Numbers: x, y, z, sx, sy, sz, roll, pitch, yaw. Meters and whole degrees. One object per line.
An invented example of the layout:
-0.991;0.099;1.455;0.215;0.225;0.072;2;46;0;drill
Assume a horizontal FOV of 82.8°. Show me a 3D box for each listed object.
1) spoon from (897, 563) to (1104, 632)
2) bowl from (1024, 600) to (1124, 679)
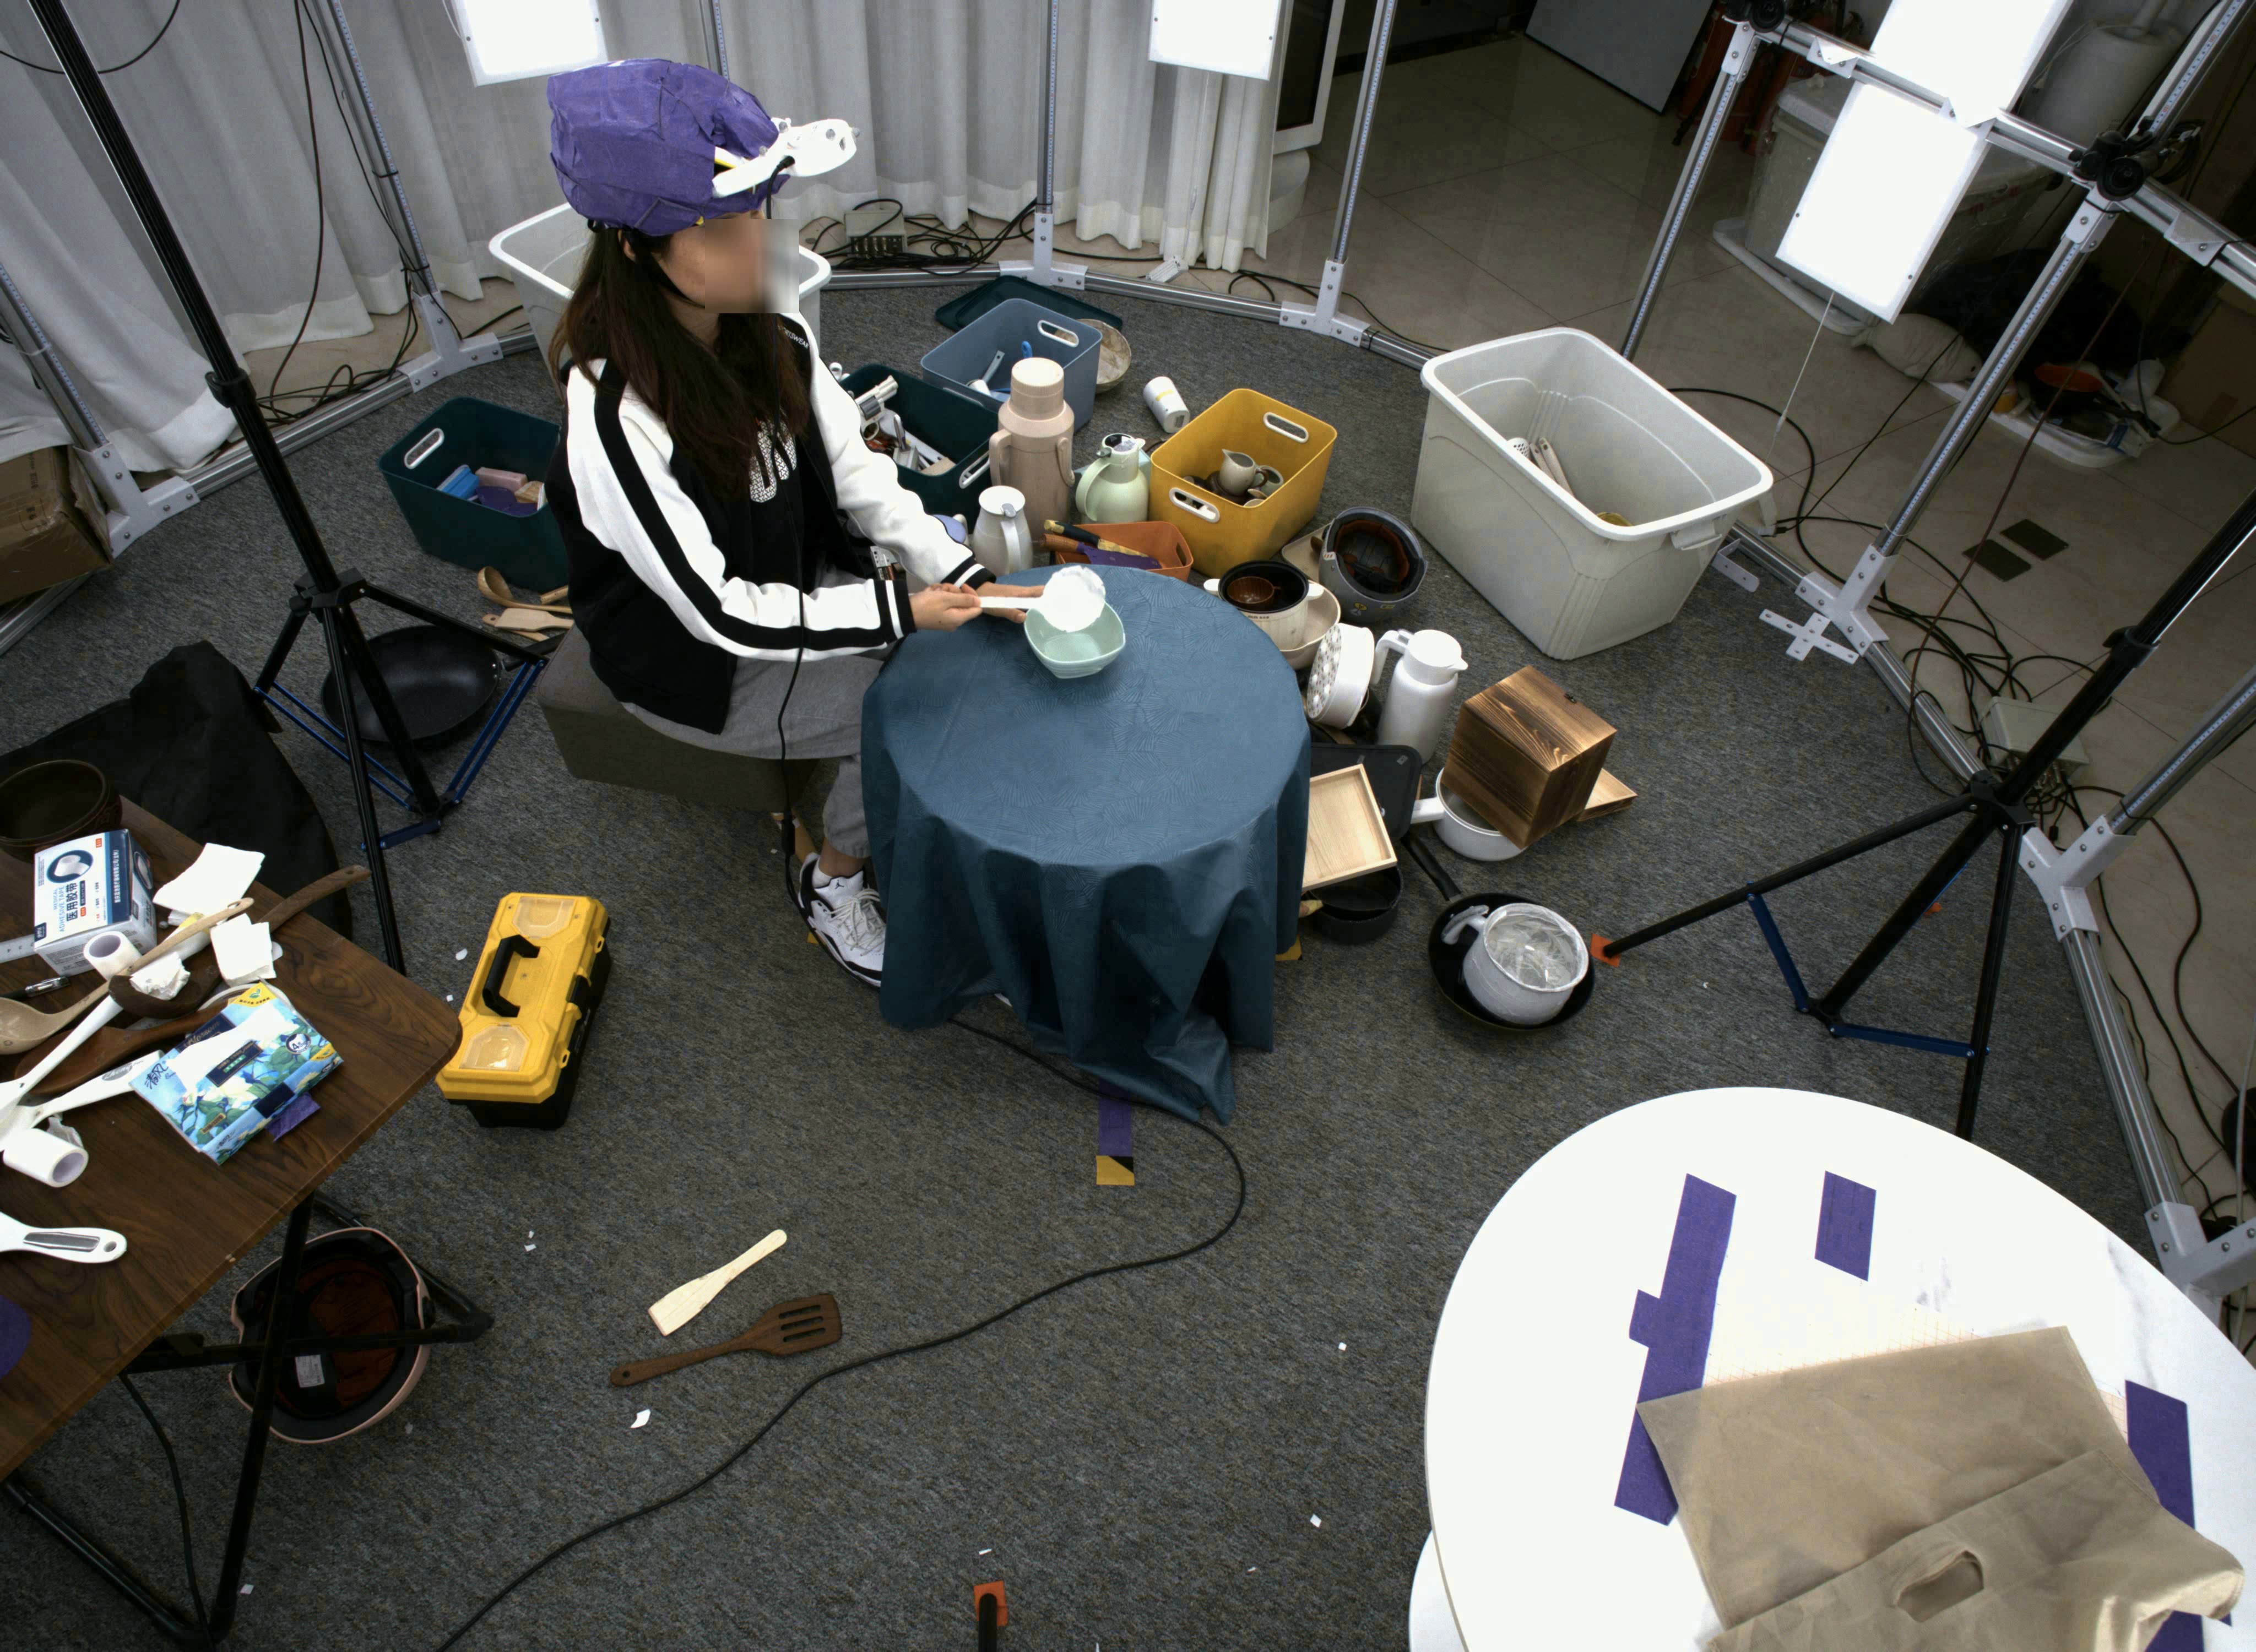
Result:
-0.173;-0.323;1.771;0.276;0.059;0.102;3;72;-16;spoon
-0.079;-0.264;1.859;0.151;0.057;0.155;2;49;-3;bowl
